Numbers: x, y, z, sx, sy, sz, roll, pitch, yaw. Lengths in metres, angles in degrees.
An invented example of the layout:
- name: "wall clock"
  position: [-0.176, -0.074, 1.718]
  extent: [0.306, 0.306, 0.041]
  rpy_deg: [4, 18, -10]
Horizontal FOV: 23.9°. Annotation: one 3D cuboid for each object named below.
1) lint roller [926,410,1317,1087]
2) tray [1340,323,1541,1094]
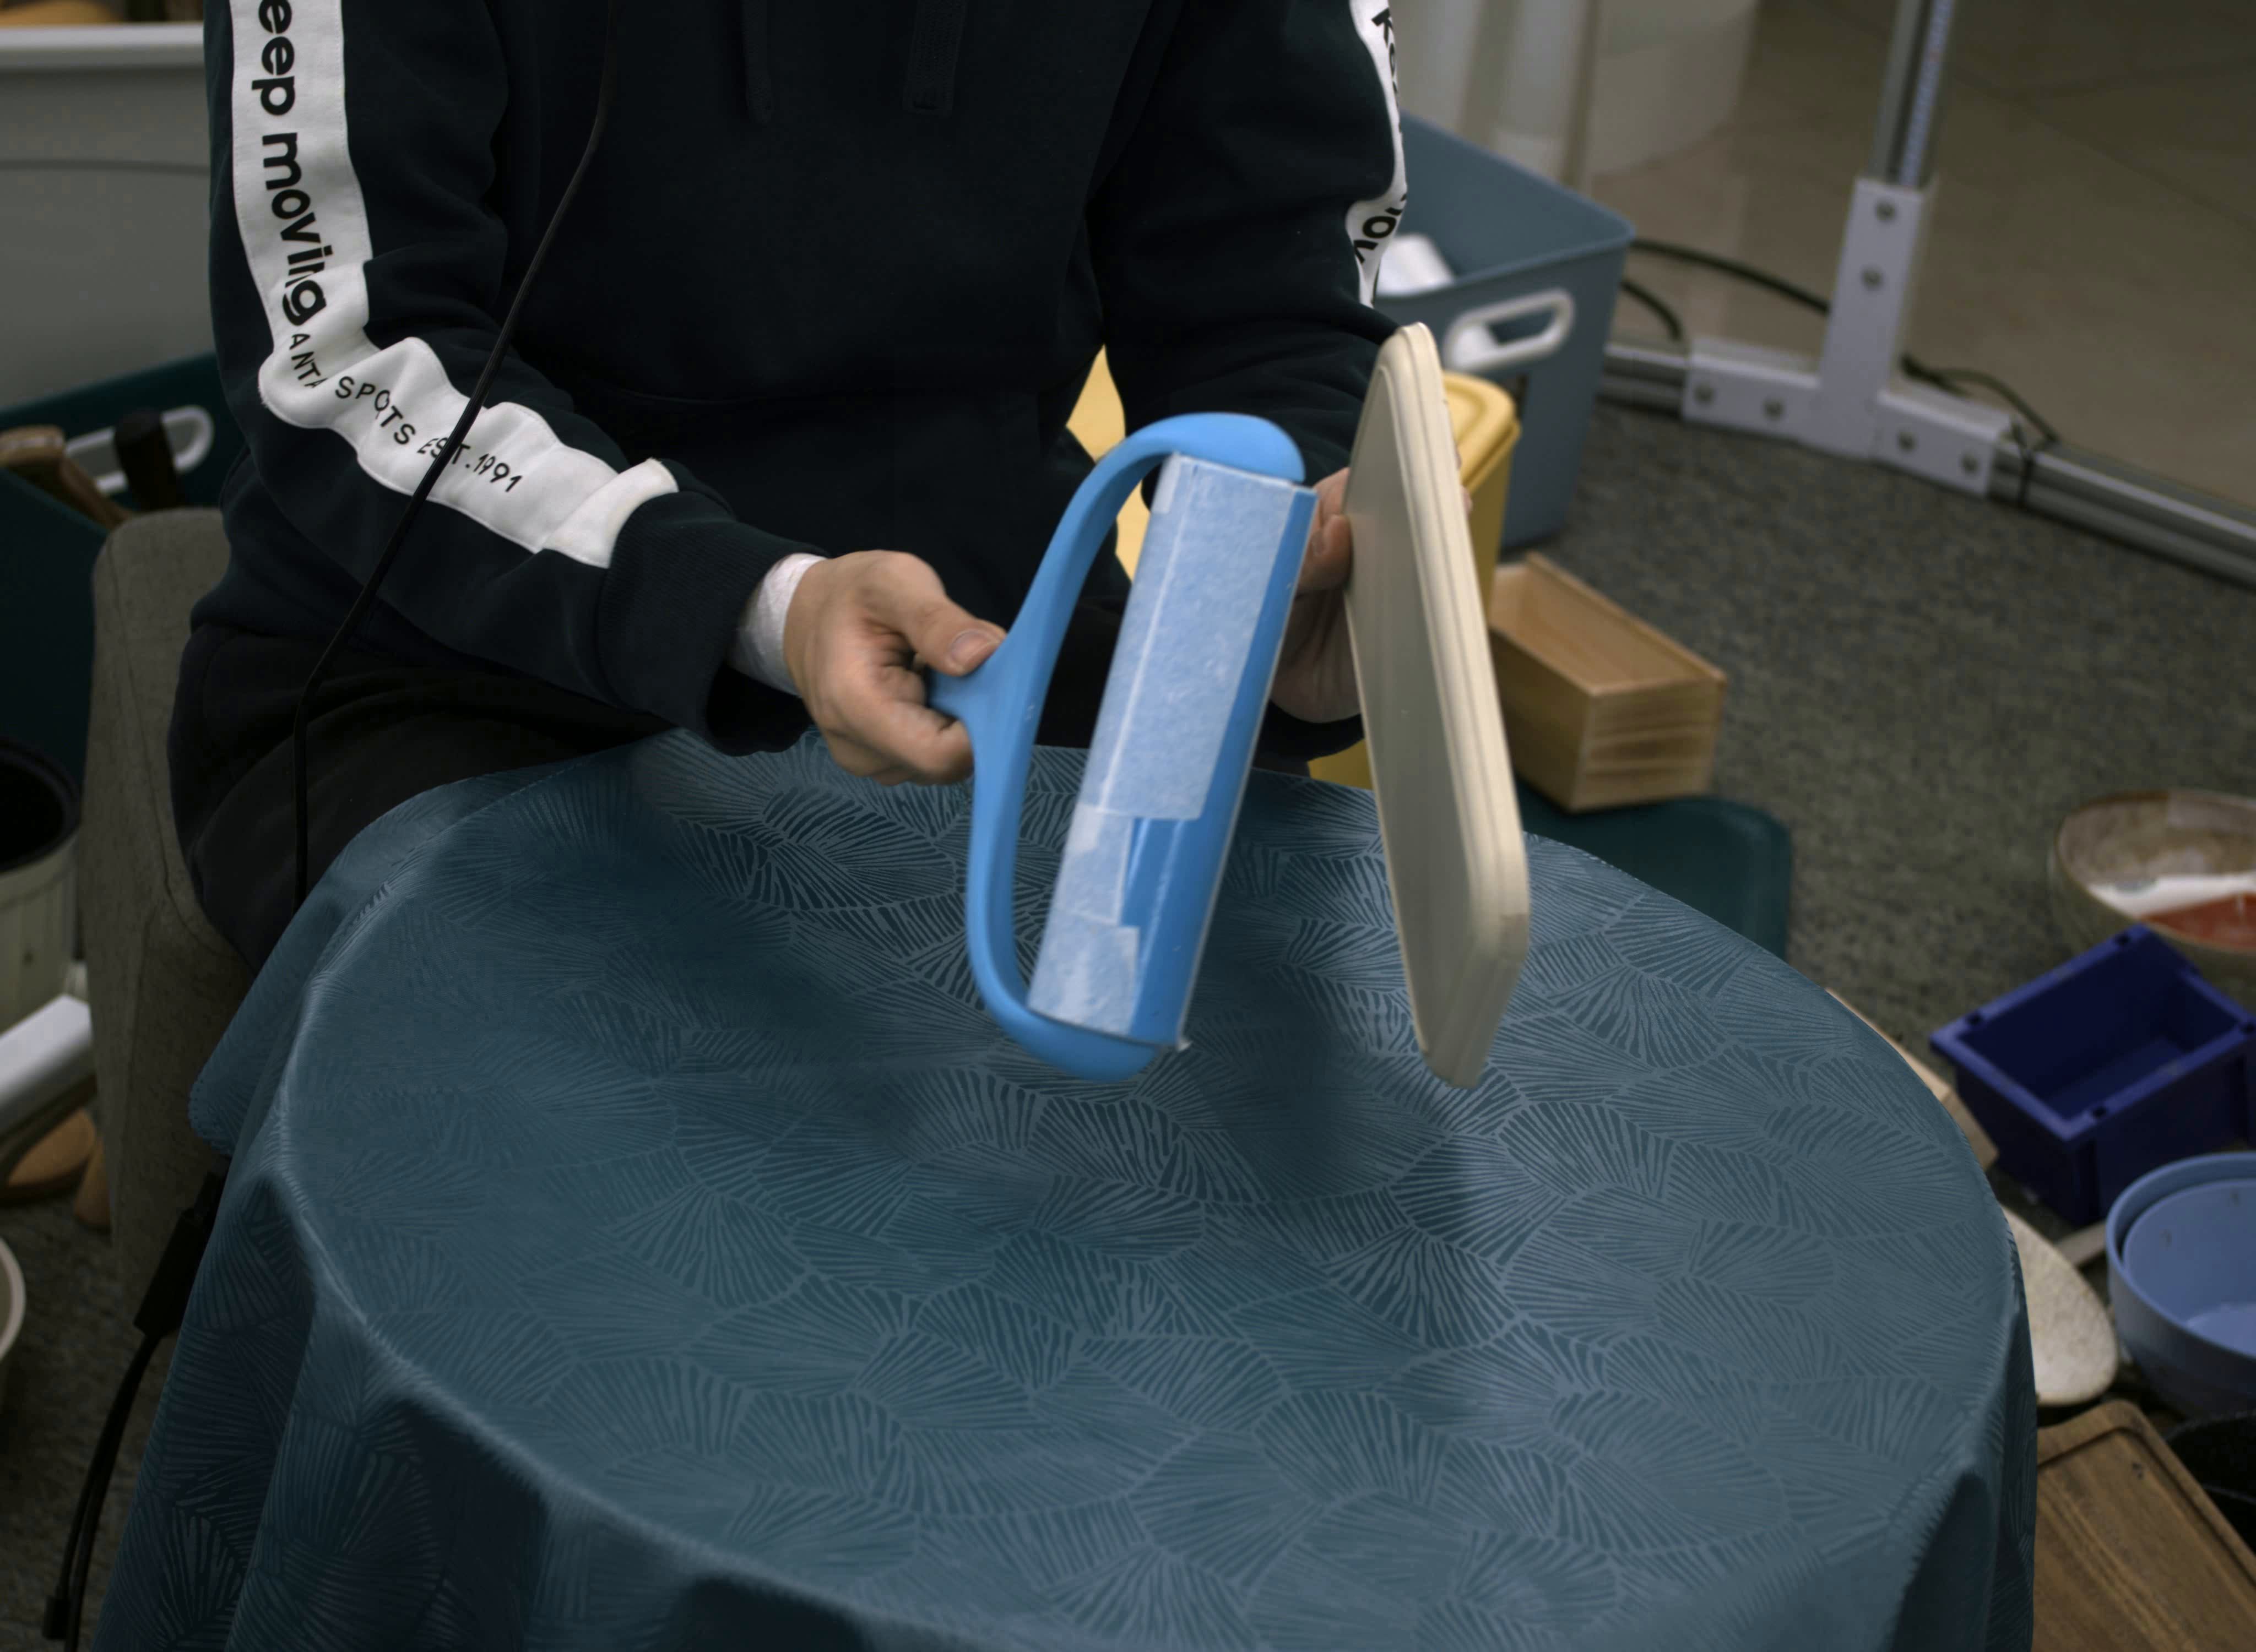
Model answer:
- name: "lint roller"
  position: [-0.026, -0.035, 1.815]
  extent: [0.067, 0.229, 0.181]
  rpy_deg: [11, 1, -43]
- name: "tray"
  position: [0.104, -0.039, 1.835]
  extent: [0.017, 0.170, 0.241]
  rpy_deg: [-5, 66, -8]
